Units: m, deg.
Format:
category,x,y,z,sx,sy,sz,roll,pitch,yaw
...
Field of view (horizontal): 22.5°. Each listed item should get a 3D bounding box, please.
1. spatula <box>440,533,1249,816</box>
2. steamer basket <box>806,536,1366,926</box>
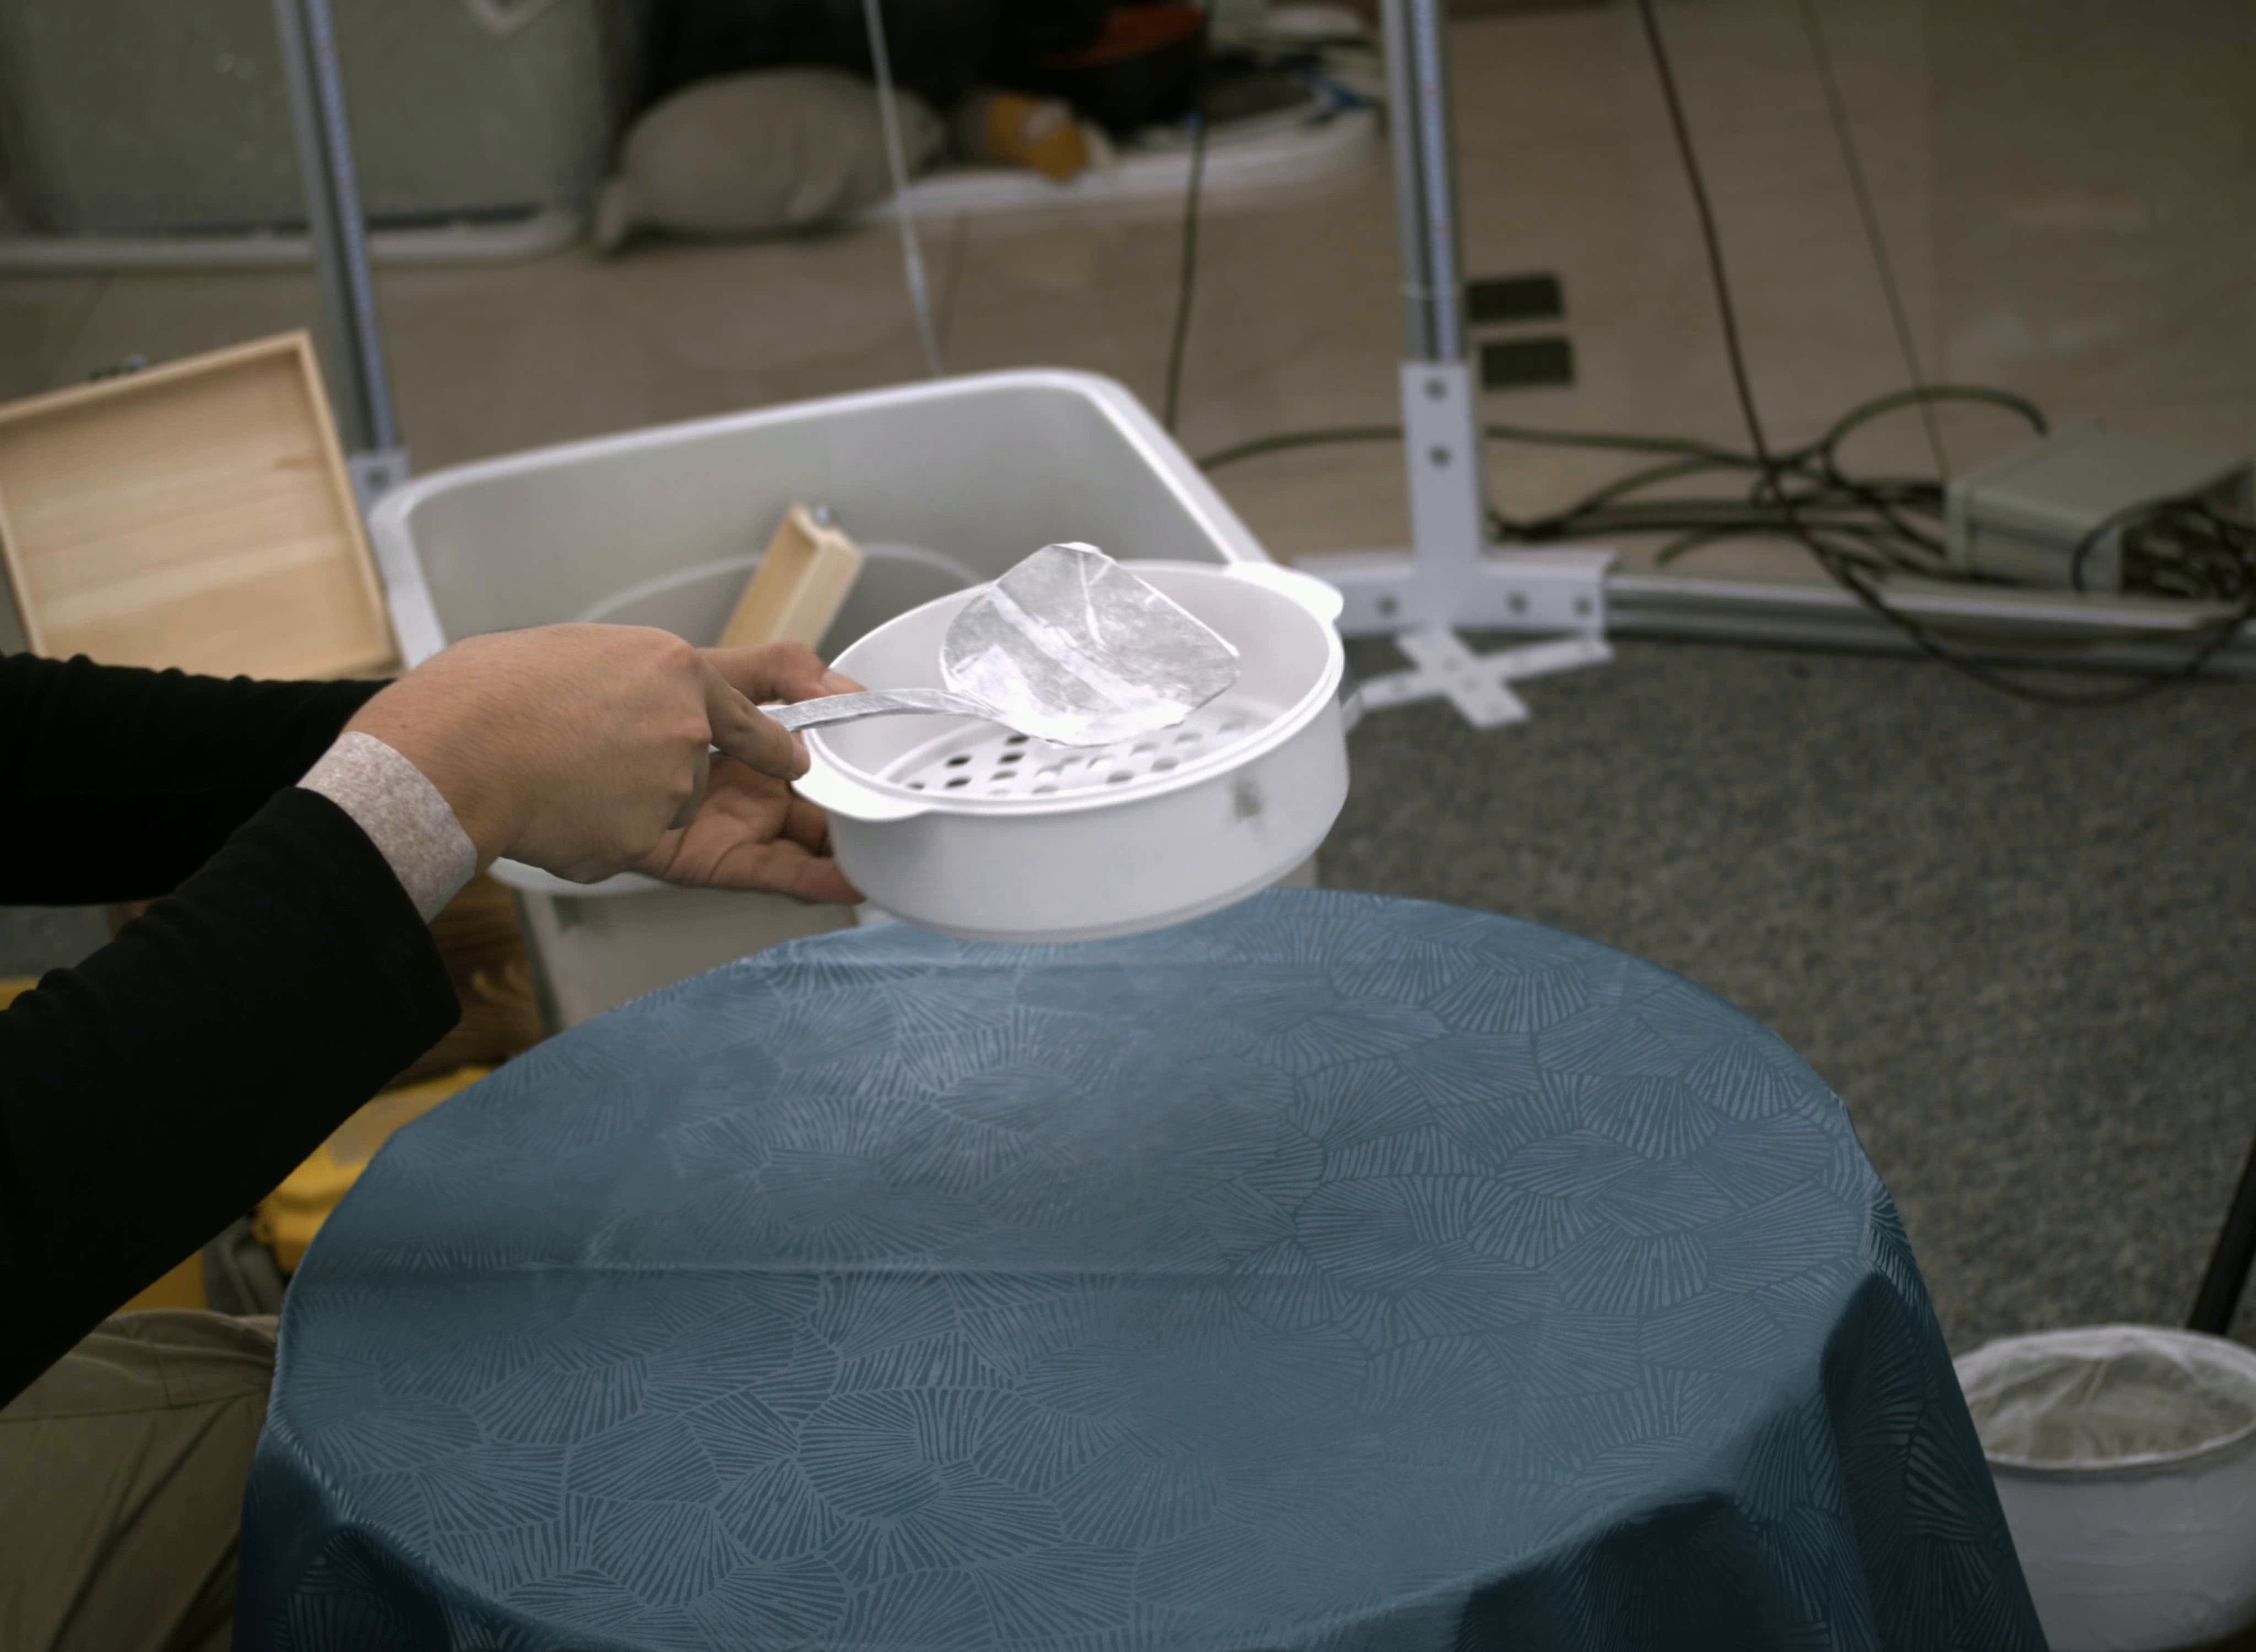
category,x,y,z,sx,sy,sz,roll,pitch,yaw
spatula,-0.097,-0.045,1.962,0.097,0.045,0.363,40,30,26
steamer basket,-0.010,-0.034,2.090,0.229,0.070,0.200,-28,31,-28
